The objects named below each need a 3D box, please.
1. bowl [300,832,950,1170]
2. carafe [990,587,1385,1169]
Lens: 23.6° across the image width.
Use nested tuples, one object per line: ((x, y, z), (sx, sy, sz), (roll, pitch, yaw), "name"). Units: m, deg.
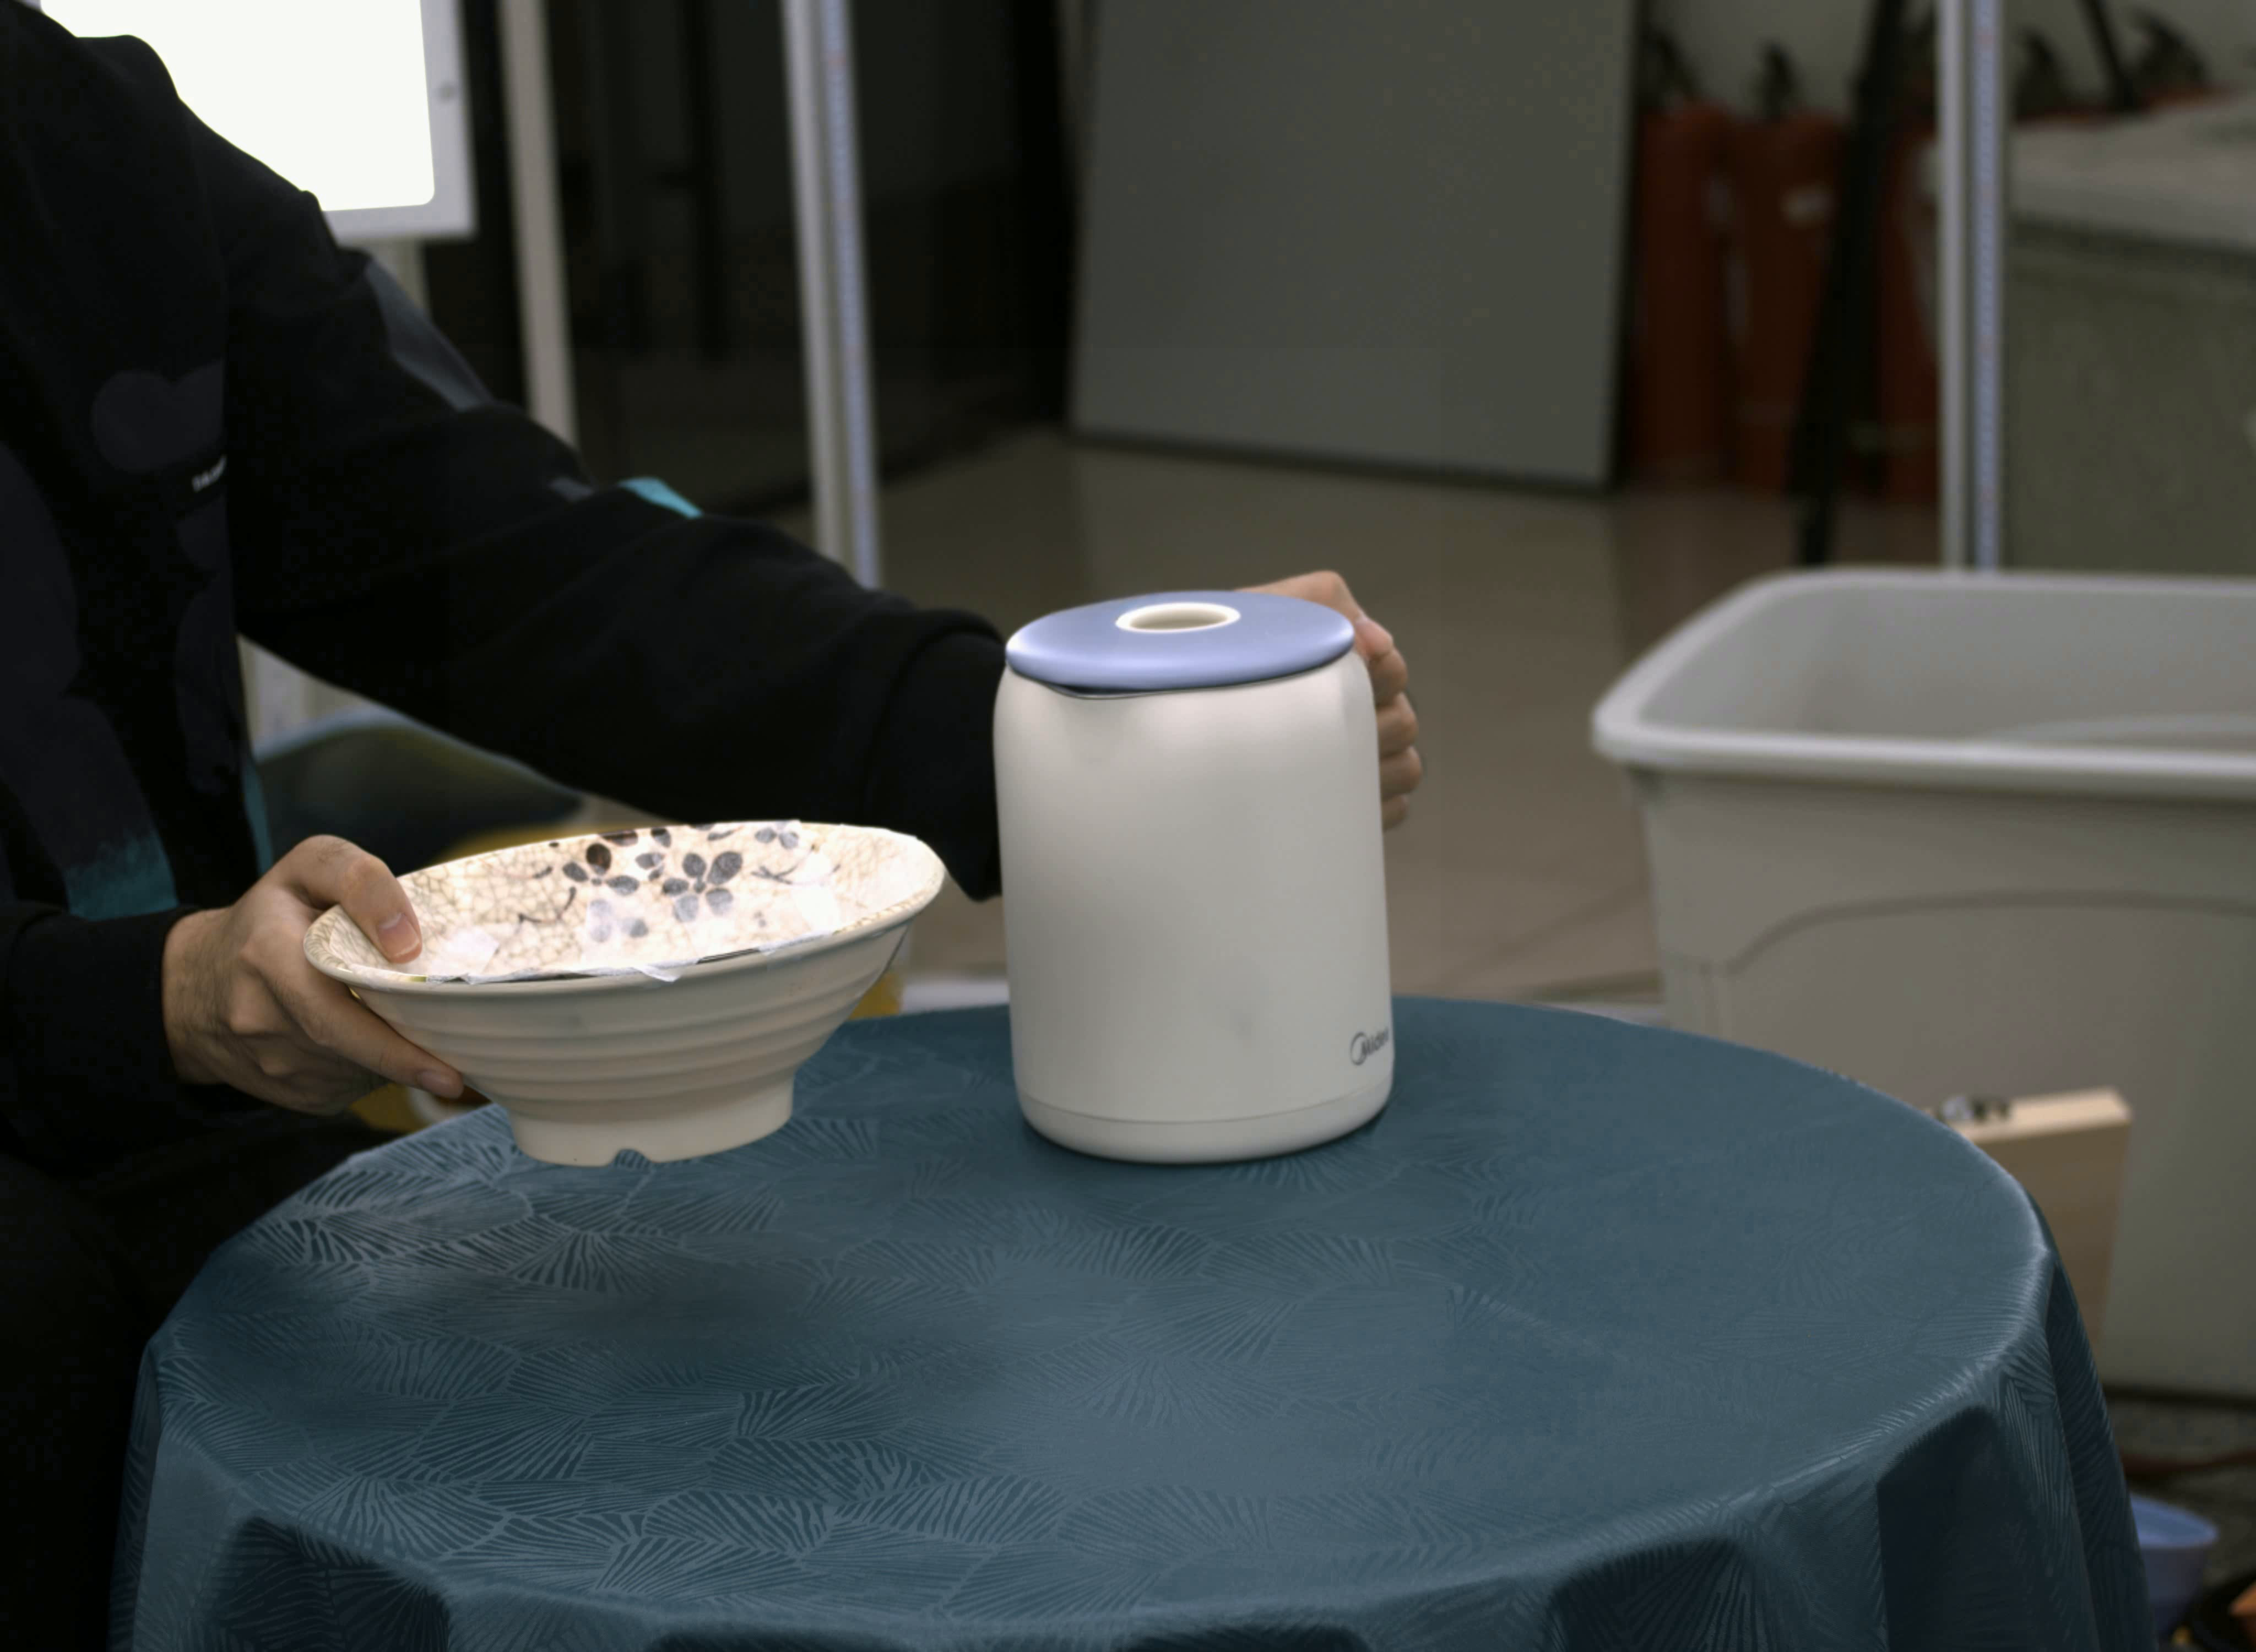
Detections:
((-0.152, 0.059, 1.683), (0.201, 0.079, 0.204), (-5, 10, 0), "bowl")
((0.031, 0.012, 1.849), (0.132, 0.184, 0.188), (4, 13, 26), "carafe")
